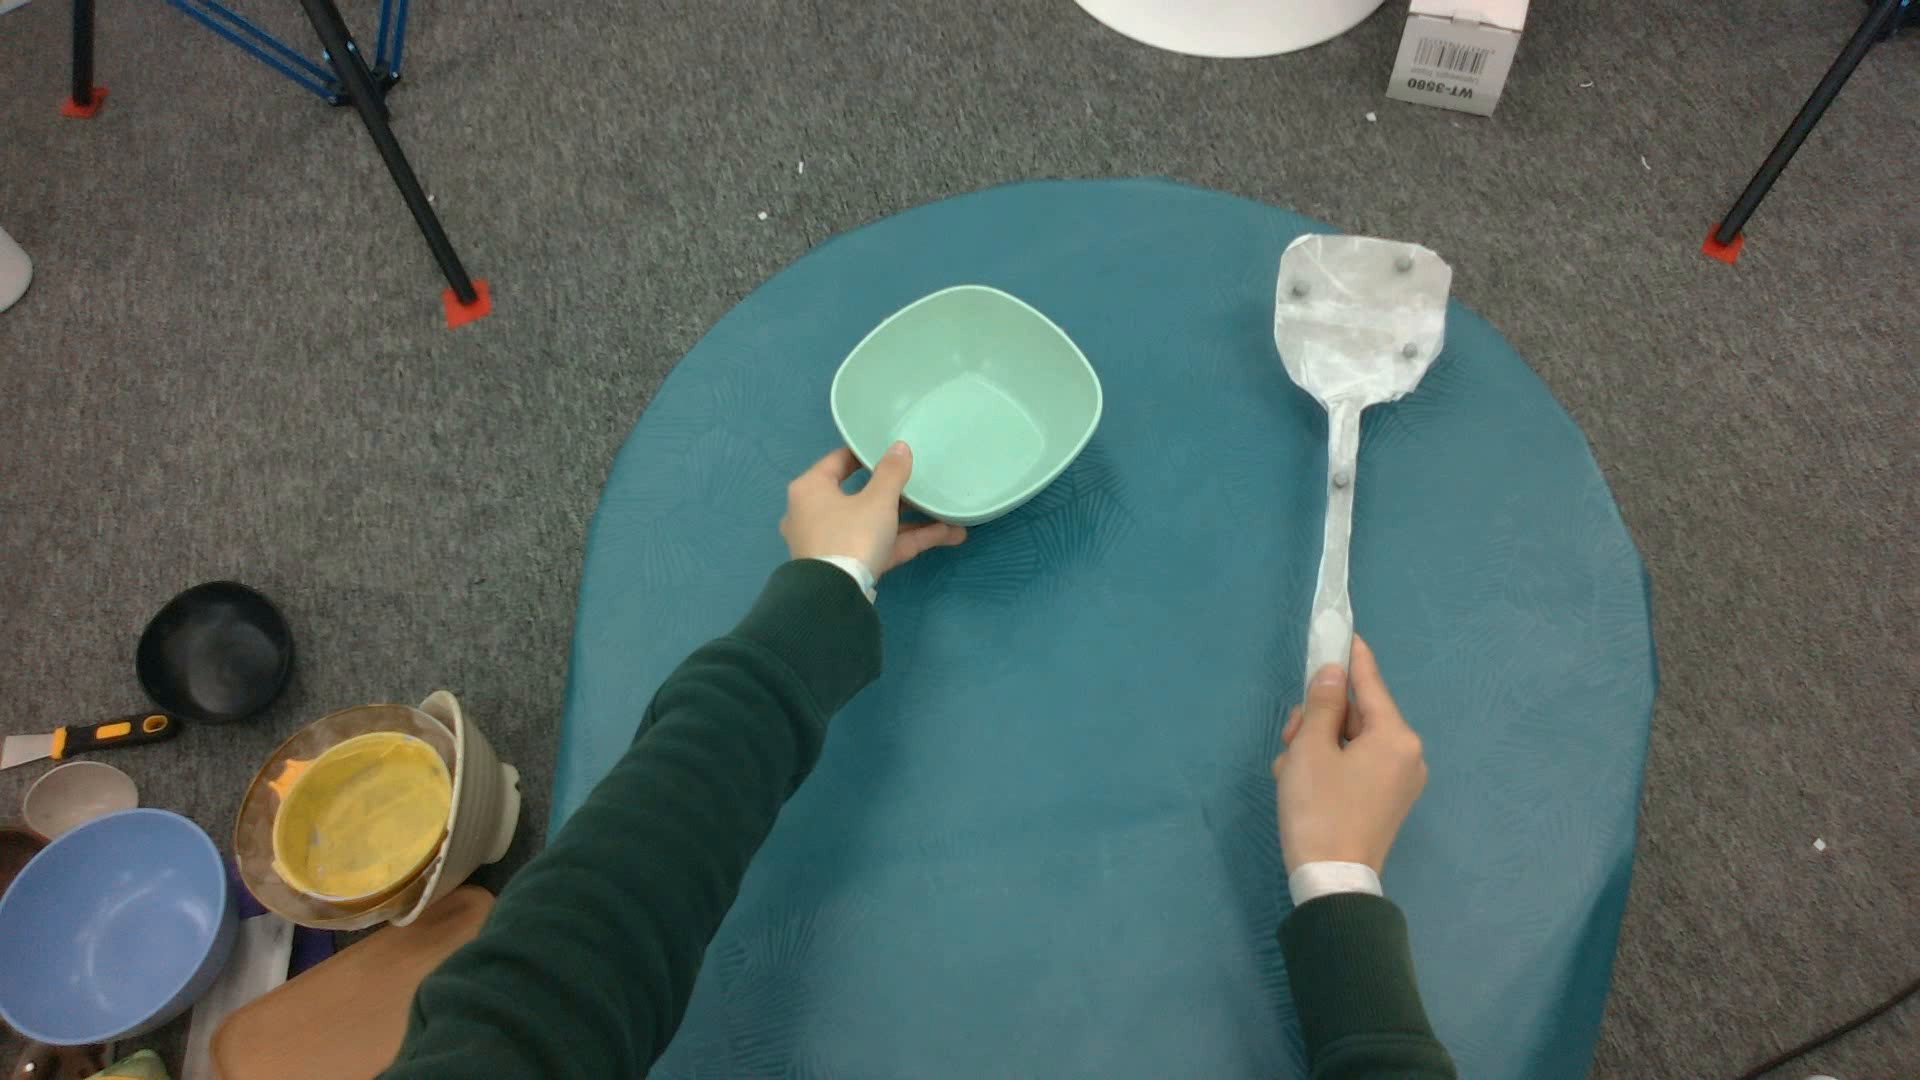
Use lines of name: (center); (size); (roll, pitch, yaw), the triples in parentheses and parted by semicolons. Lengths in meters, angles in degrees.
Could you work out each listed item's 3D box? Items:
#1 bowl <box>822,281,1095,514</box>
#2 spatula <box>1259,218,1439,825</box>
bowl: (0.000, -0.072, 0.785); (0.151, 0.058, 0.152); (-1, 60, 1)
spatula: (0.198, -0.023, 0.747); (0.098, 0.044, 0.366); (11, 61, 5)
